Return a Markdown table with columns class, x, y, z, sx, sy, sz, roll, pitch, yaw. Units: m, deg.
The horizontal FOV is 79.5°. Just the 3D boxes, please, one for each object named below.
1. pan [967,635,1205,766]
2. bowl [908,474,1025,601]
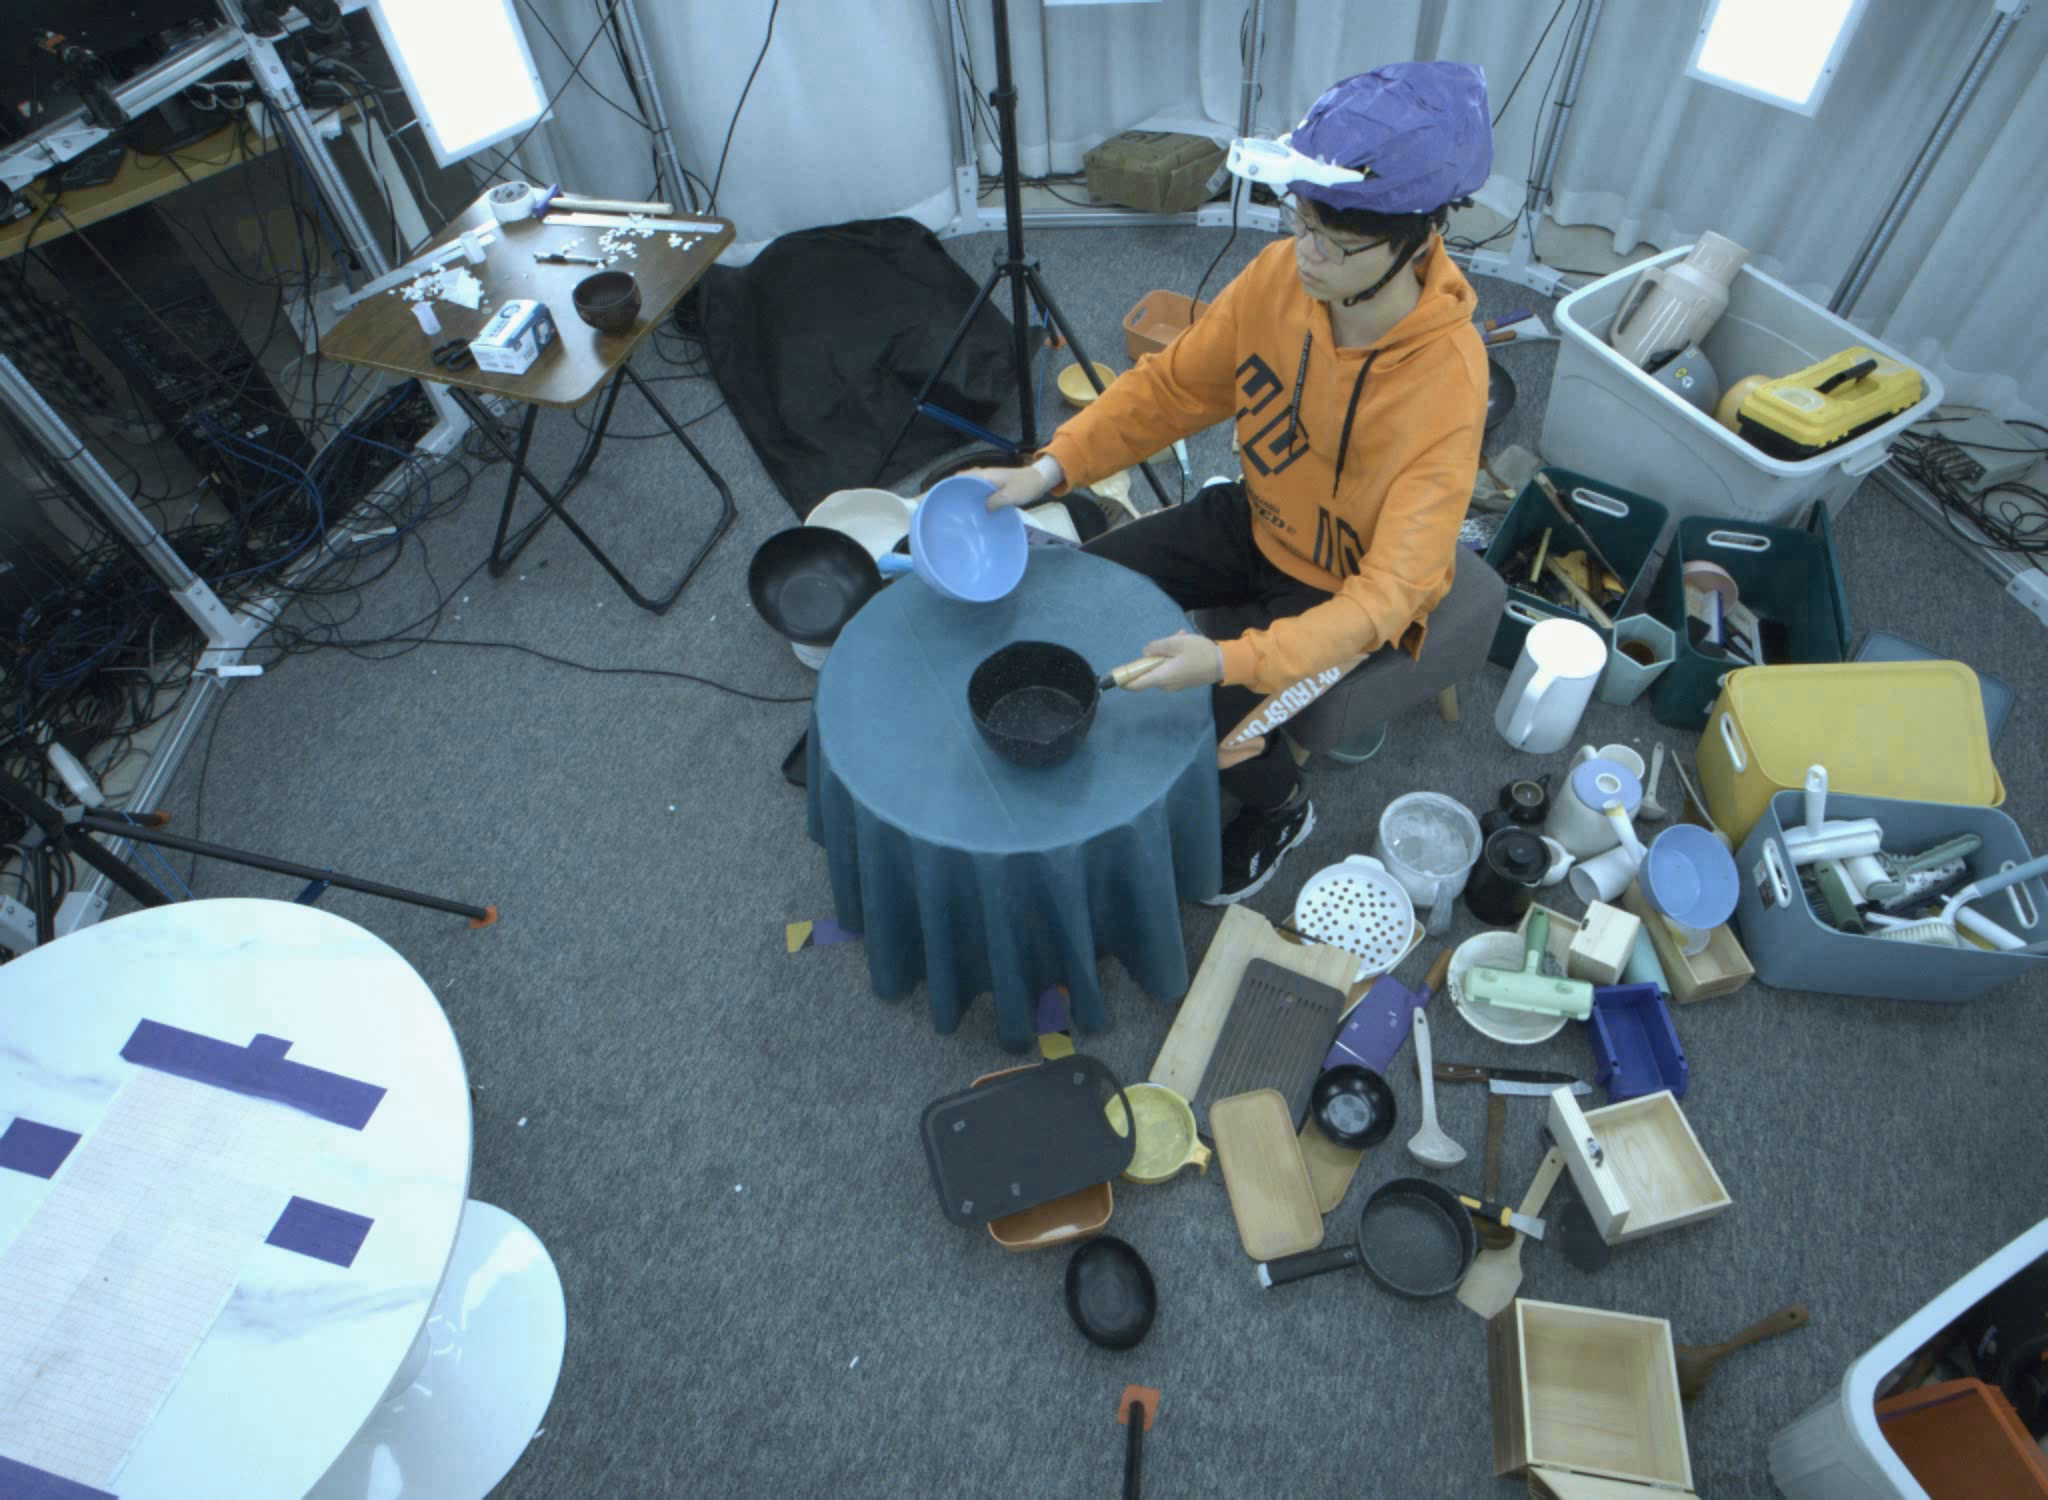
| class | x | y | z | sx | sy | sz | roll | pitch | yaw |
| --- | --- | --- | --- | --- | --- | --- | --- | --- | --- |
| pan | 0.092 | -0.086 | 1.755 | 0.344 | 0.109 | 0.204 | -14 | 51 | -6 |
| bowl | -0.104 | -0.319 | 1.885 | 0.093 | 0.200 | 0.197 | -6 | 41 | 52 |
